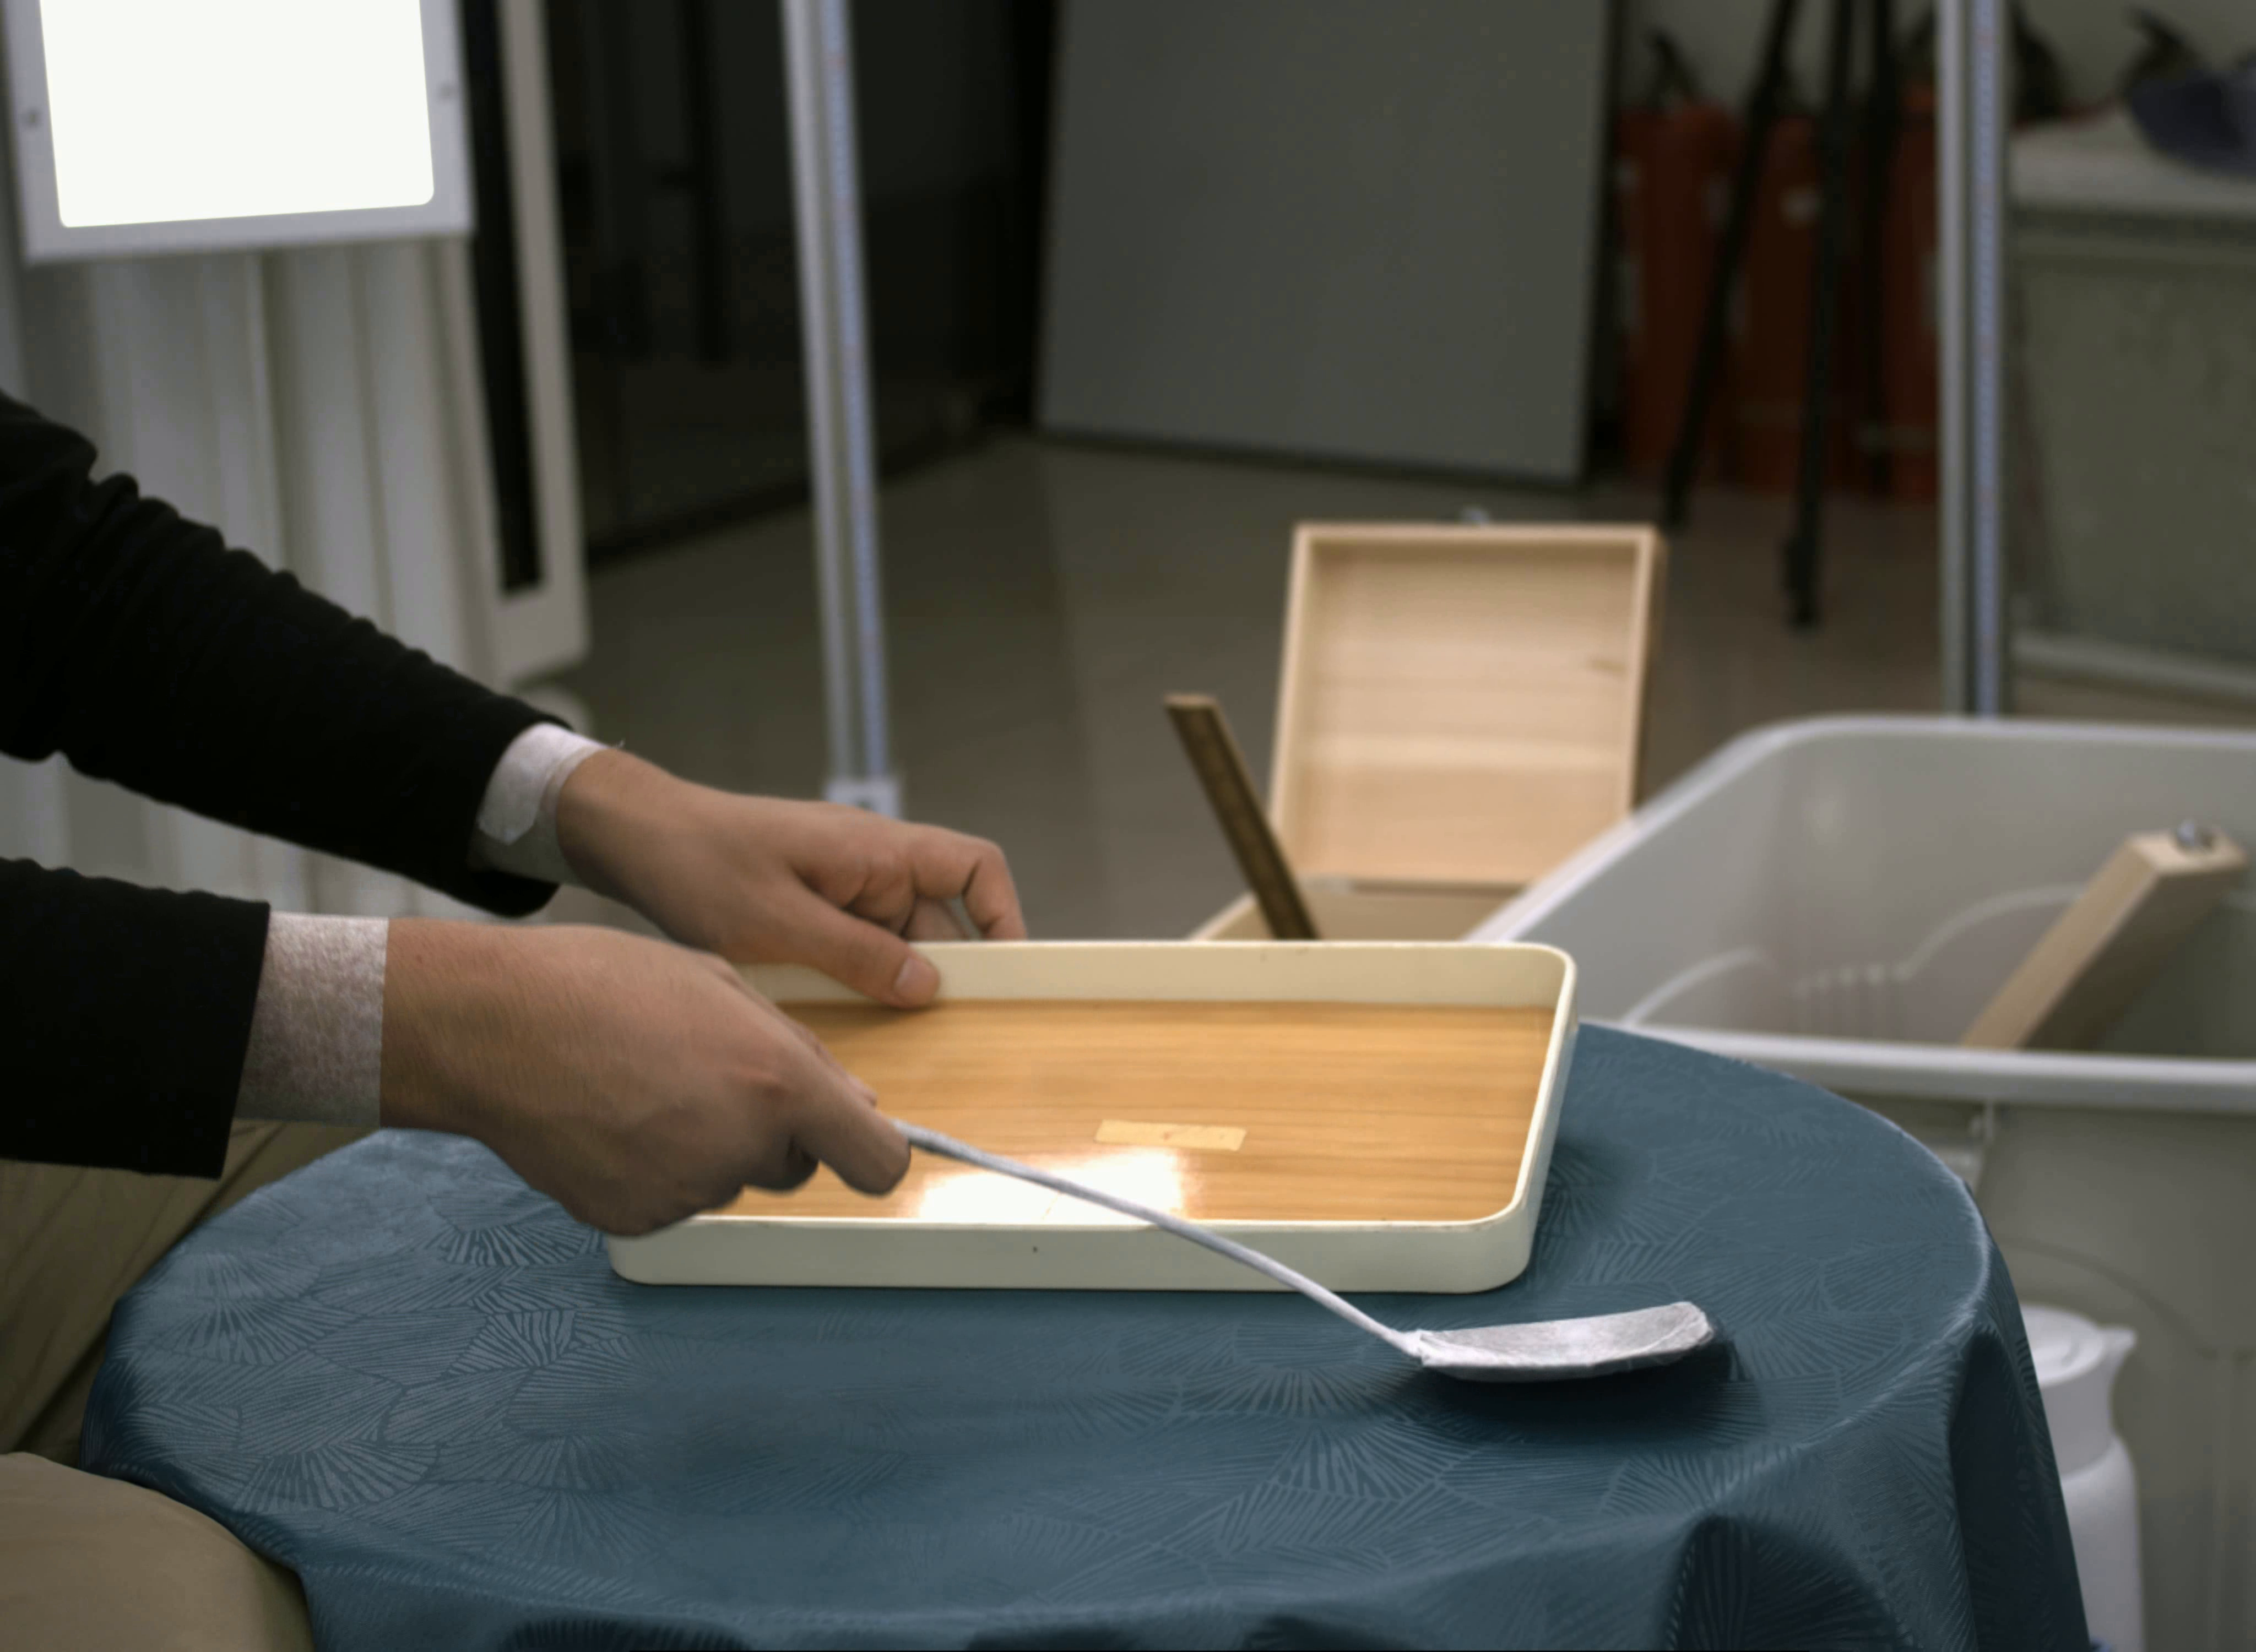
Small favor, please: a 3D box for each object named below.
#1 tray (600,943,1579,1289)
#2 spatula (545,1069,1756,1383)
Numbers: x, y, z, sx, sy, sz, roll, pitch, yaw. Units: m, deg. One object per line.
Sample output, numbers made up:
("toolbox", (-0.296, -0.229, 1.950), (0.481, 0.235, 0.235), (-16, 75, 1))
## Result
("tray", (-0.008, 0.094, 1.756), (0.298, 0.027, 0.191), (-1, 25, 13))
("spatula", (0.004, 0.110, 1.574), (0.362, 0.045, 0.098), (18, 4, 4))
